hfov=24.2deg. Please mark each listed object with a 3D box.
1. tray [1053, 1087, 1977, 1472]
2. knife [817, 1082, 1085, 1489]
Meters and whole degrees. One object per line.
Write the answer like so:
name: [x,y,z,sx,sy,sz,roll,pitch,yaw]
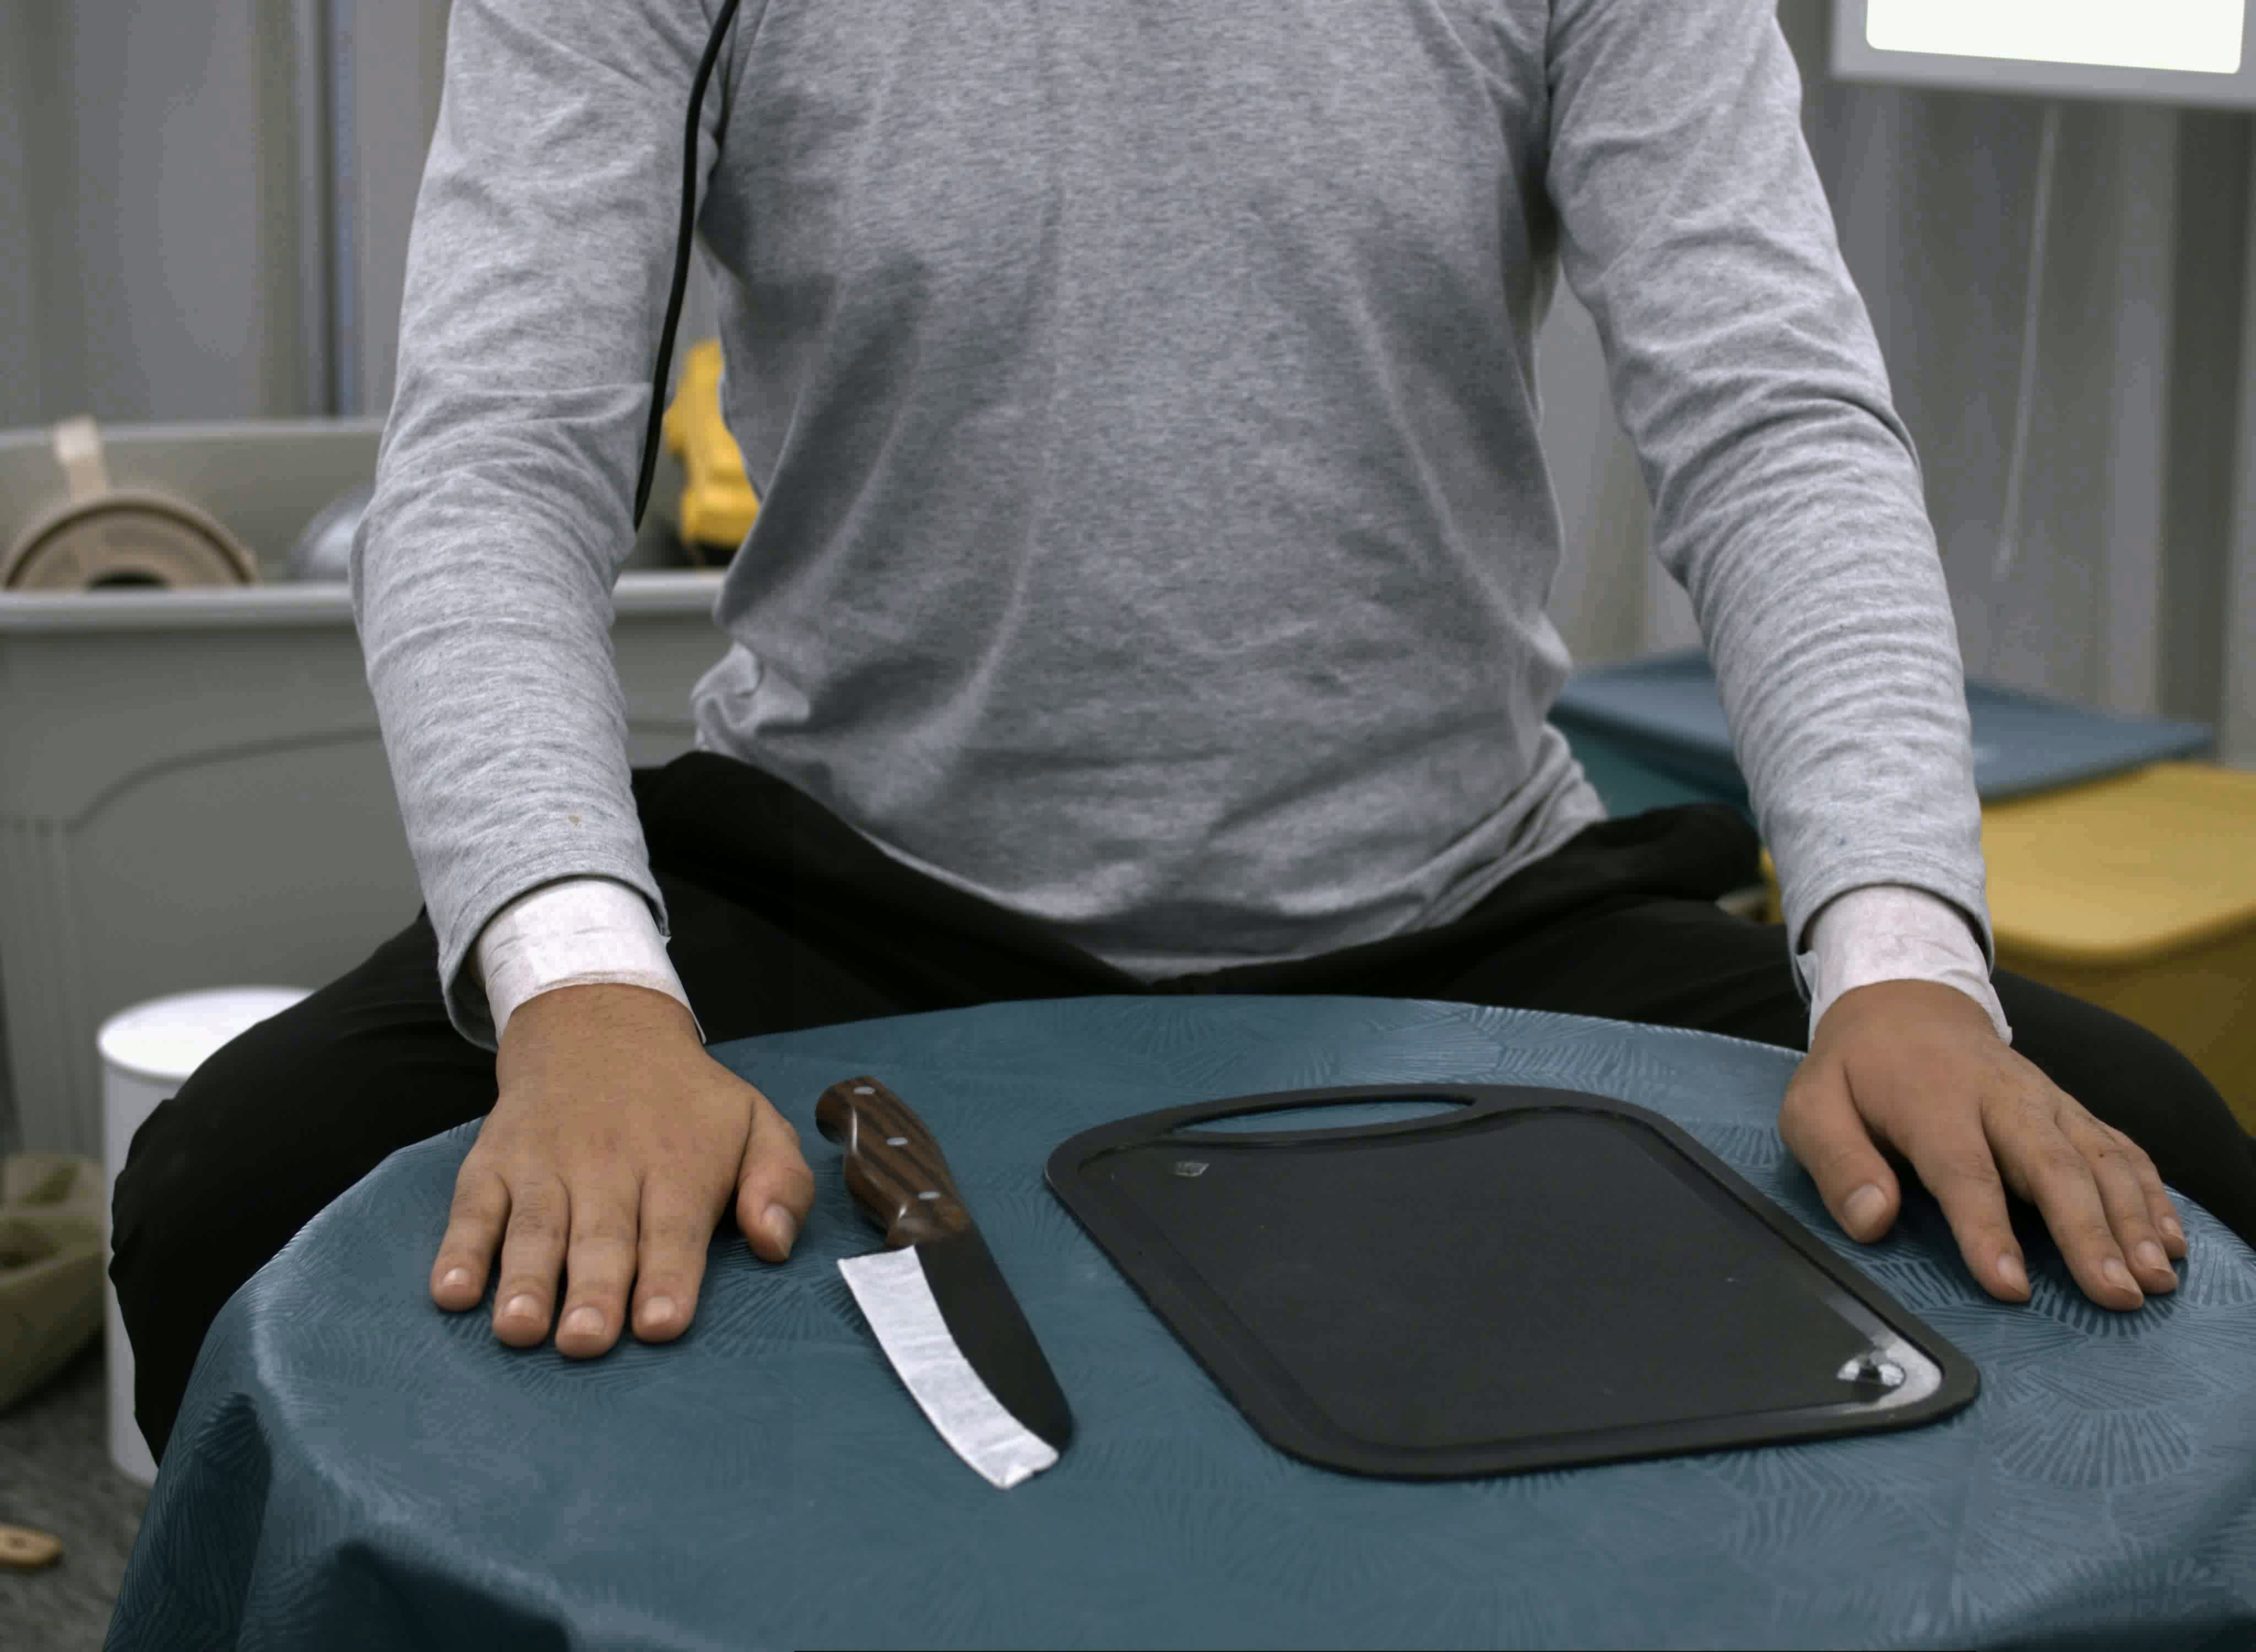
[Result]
tray: [0.103,0.127,1.566,0.211,0.010,0.322,-3,15,-16]
knife: [-0.057,0.132,1.526,0.050,0.020,0.286,-8,19,-10]
